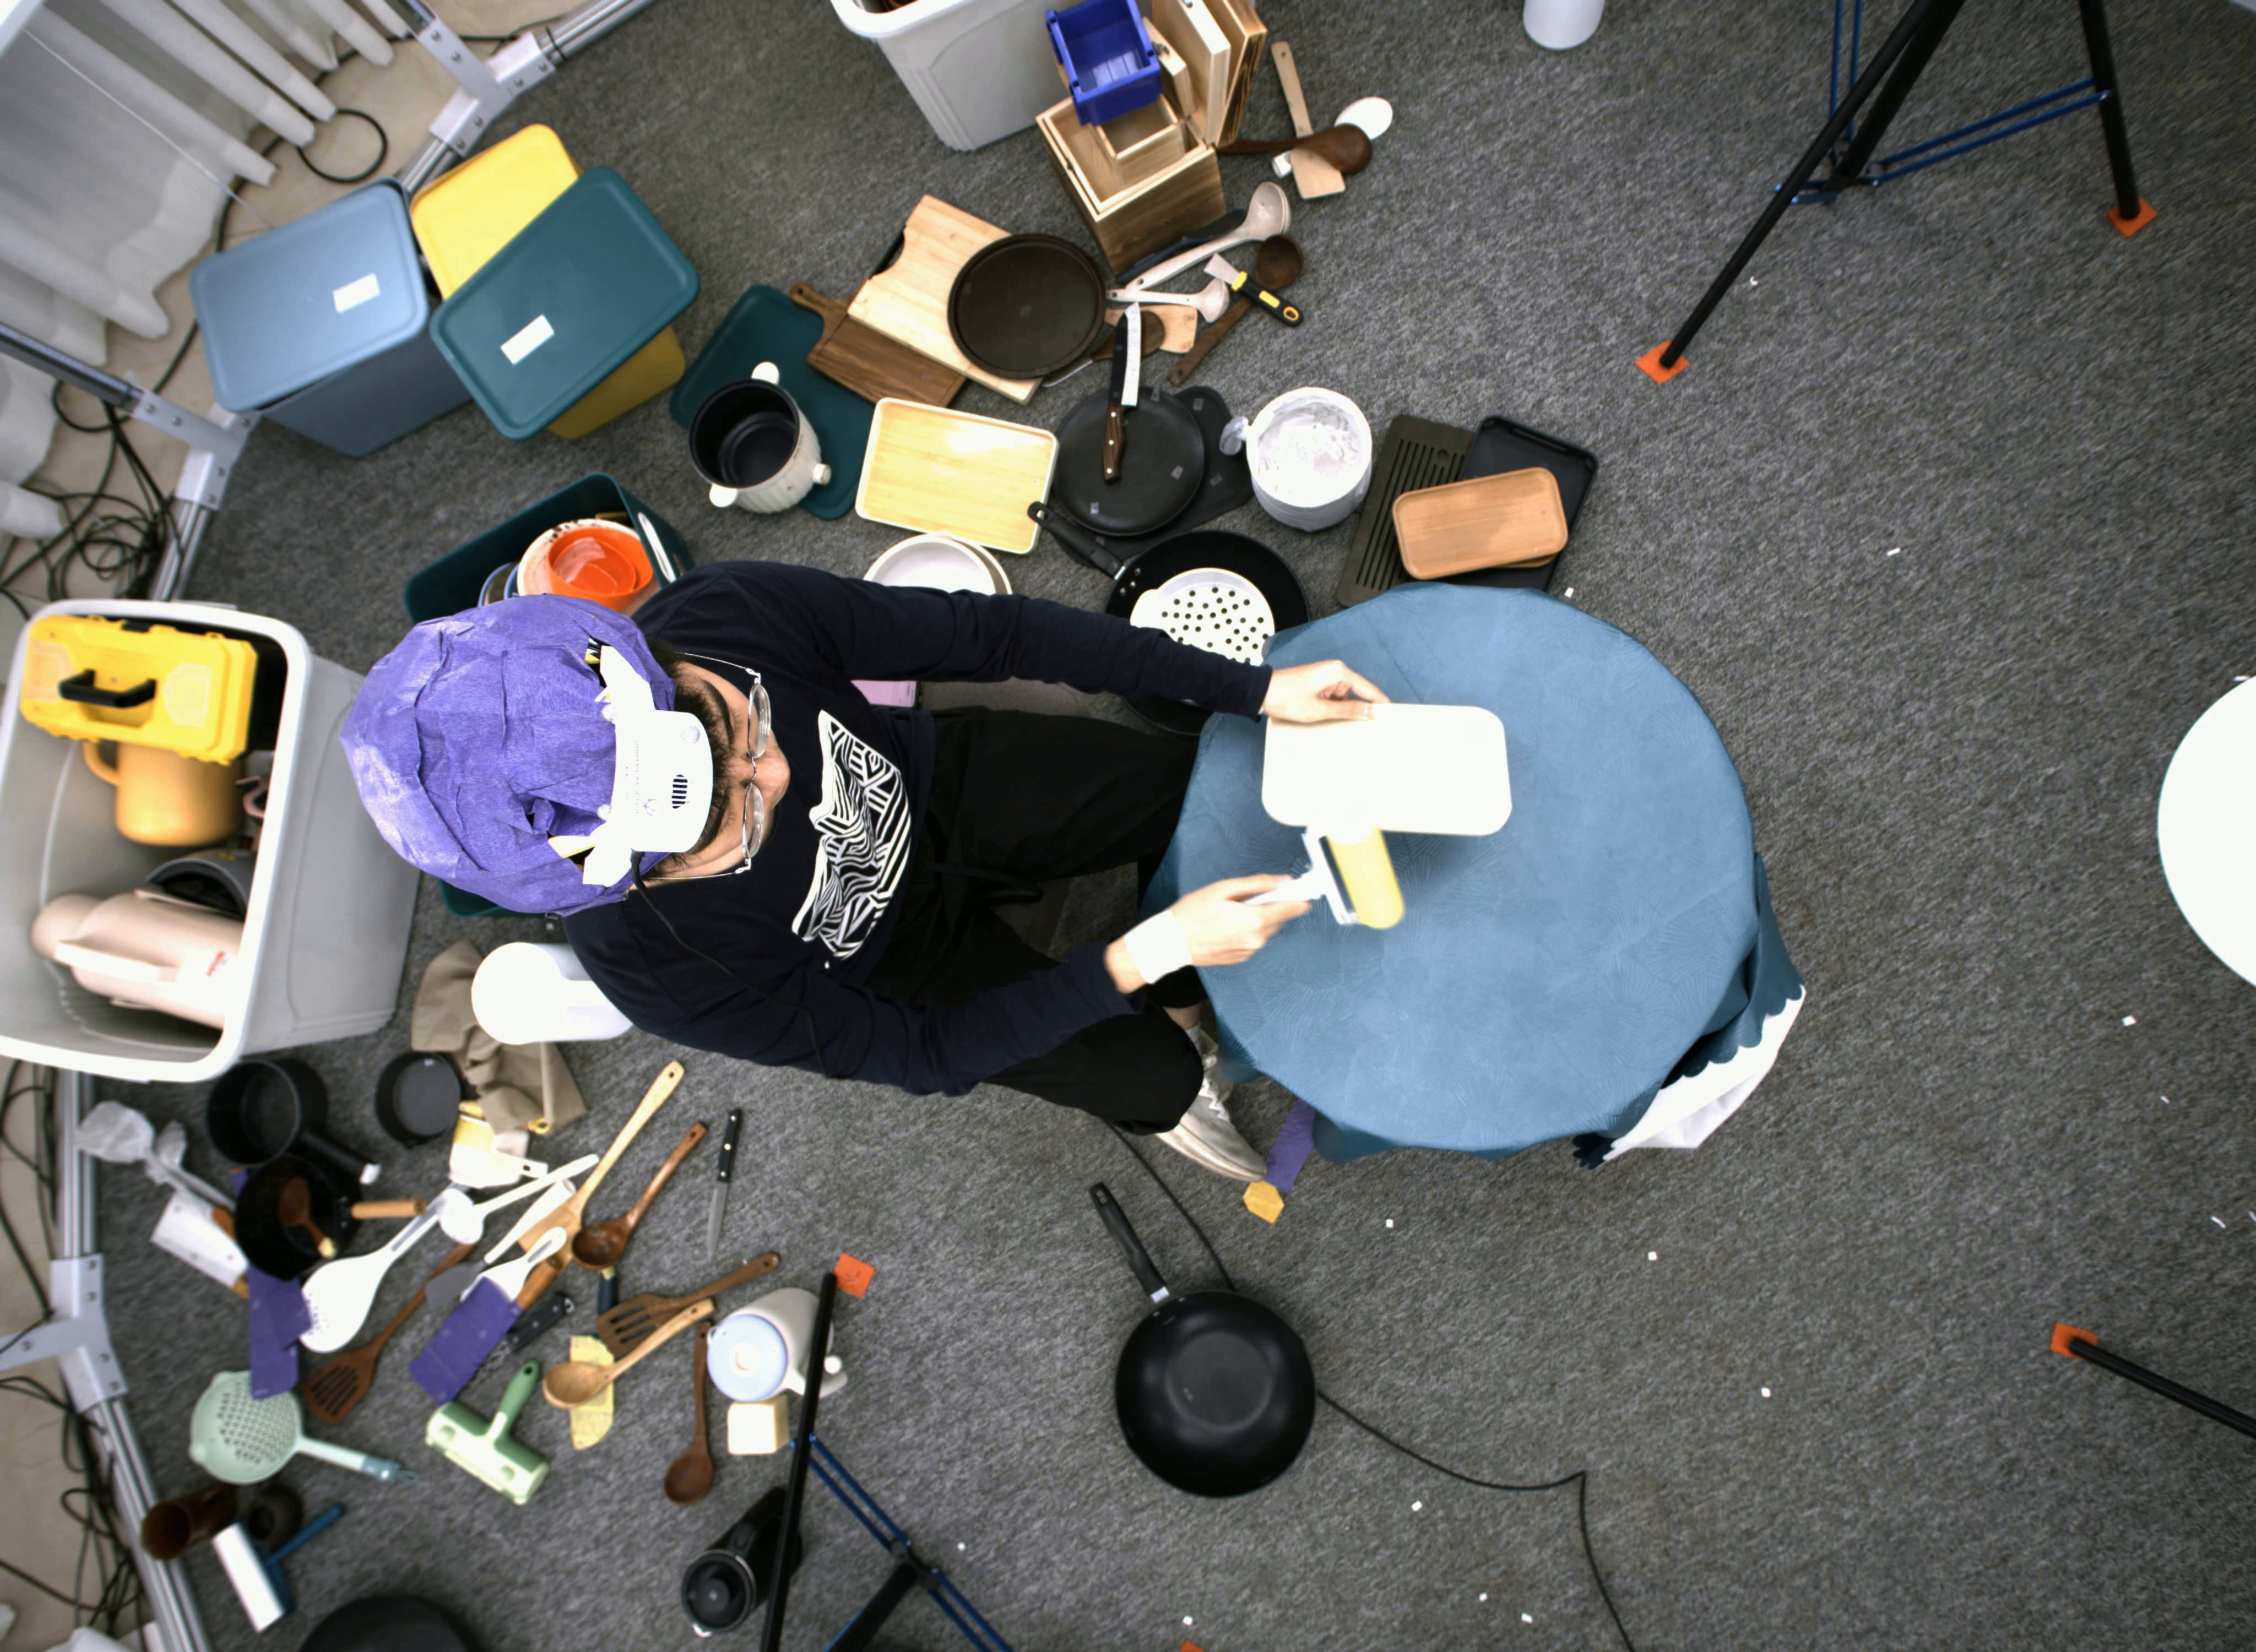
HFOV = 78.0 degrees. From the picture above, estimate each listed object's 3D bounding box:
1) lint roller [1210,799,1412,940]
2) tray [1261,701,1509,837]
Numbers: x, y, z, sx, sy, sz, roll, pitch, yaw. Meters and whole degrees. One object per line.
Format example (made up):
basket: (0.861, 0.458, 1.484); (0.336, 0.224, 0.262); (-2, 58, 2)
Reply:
lint roller: (0.172, 0.072, 1.339); (0.193, 0.177, 0.050); (-29, 49, 4)
tray: (0.253, -0.058, 1.367); (0.240, 0.018, 0.166); (3, 51, 7)
